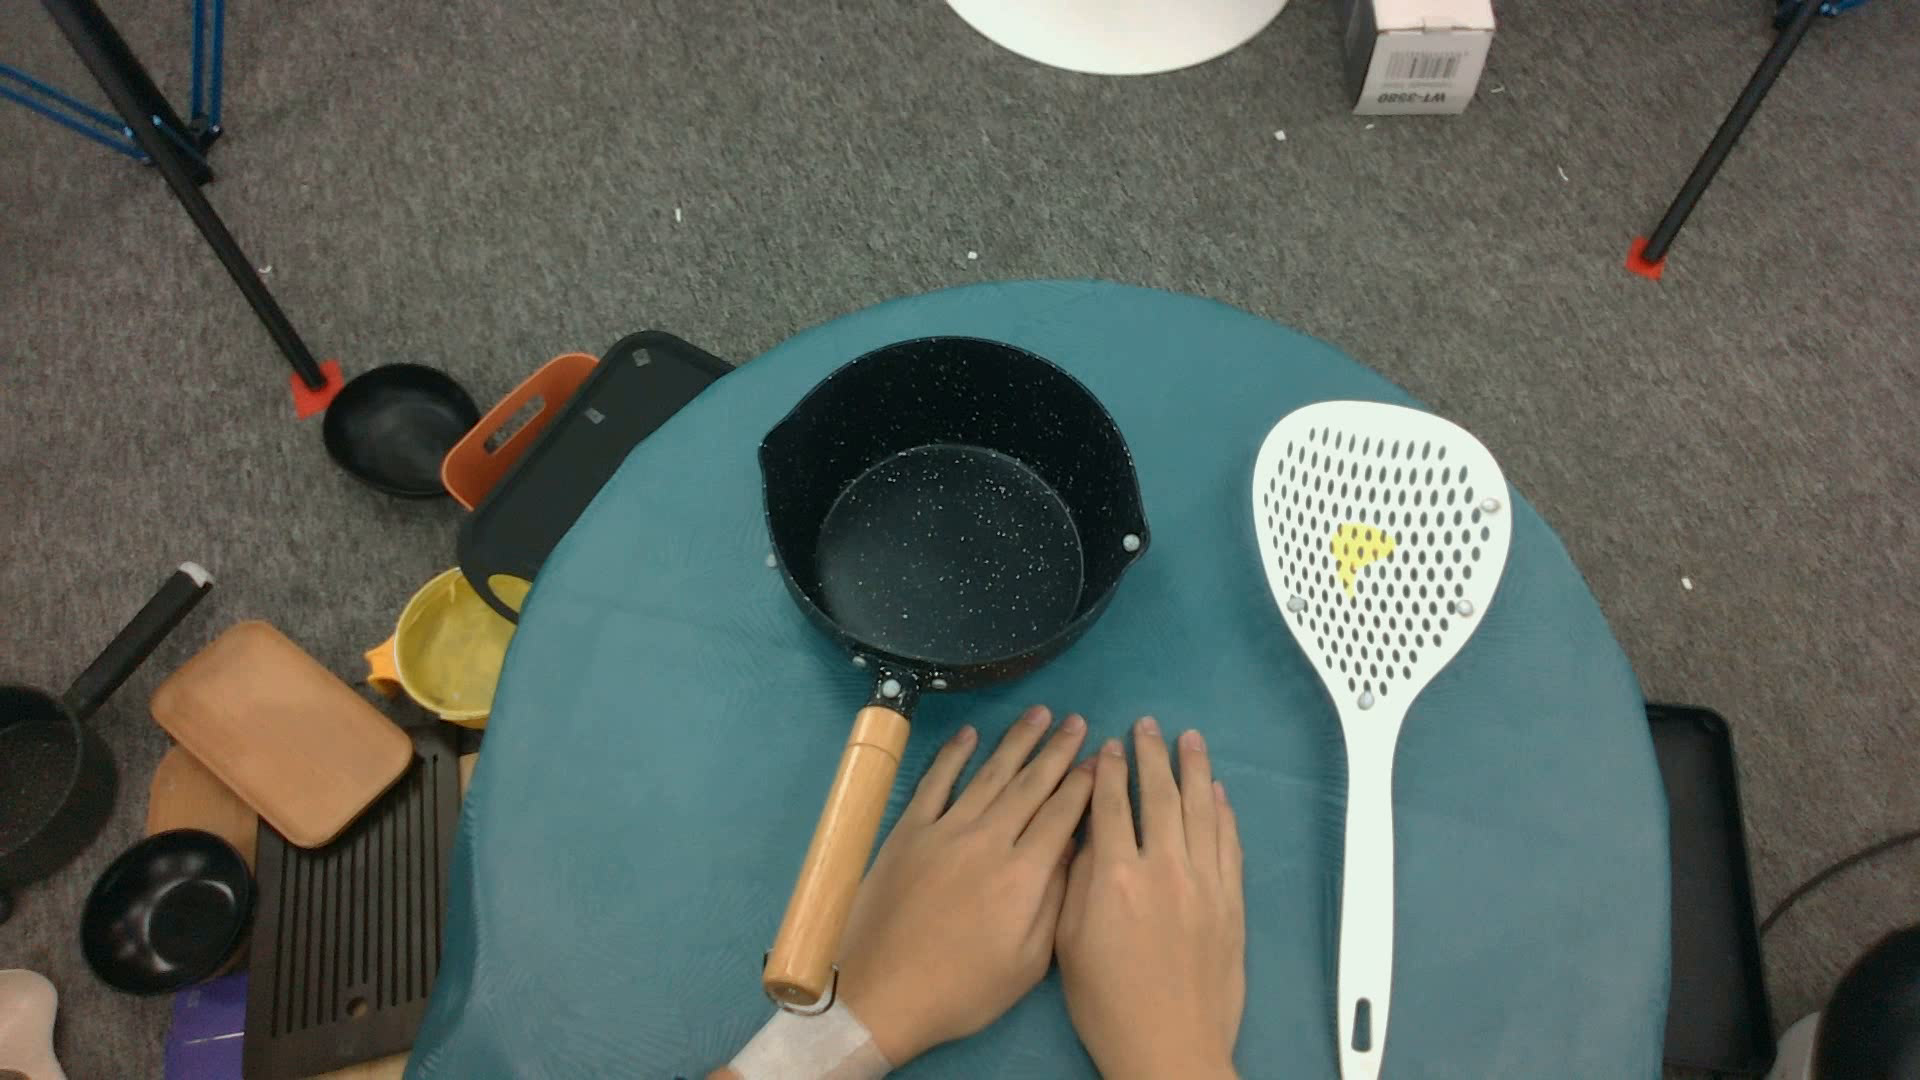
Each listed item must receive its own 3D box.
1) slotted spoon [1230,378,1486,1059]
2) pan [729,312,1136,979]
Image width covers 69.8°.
[{"bbox_3d":[0.198,0.075,0.696,0.137,0.050,0.349,7,62,0],"label":"slotted spoon"},{"bbox_3d":[-0.032,0.047,0.665,0.207,0.108,0.344,13,63,3],"label":"pan"}]
